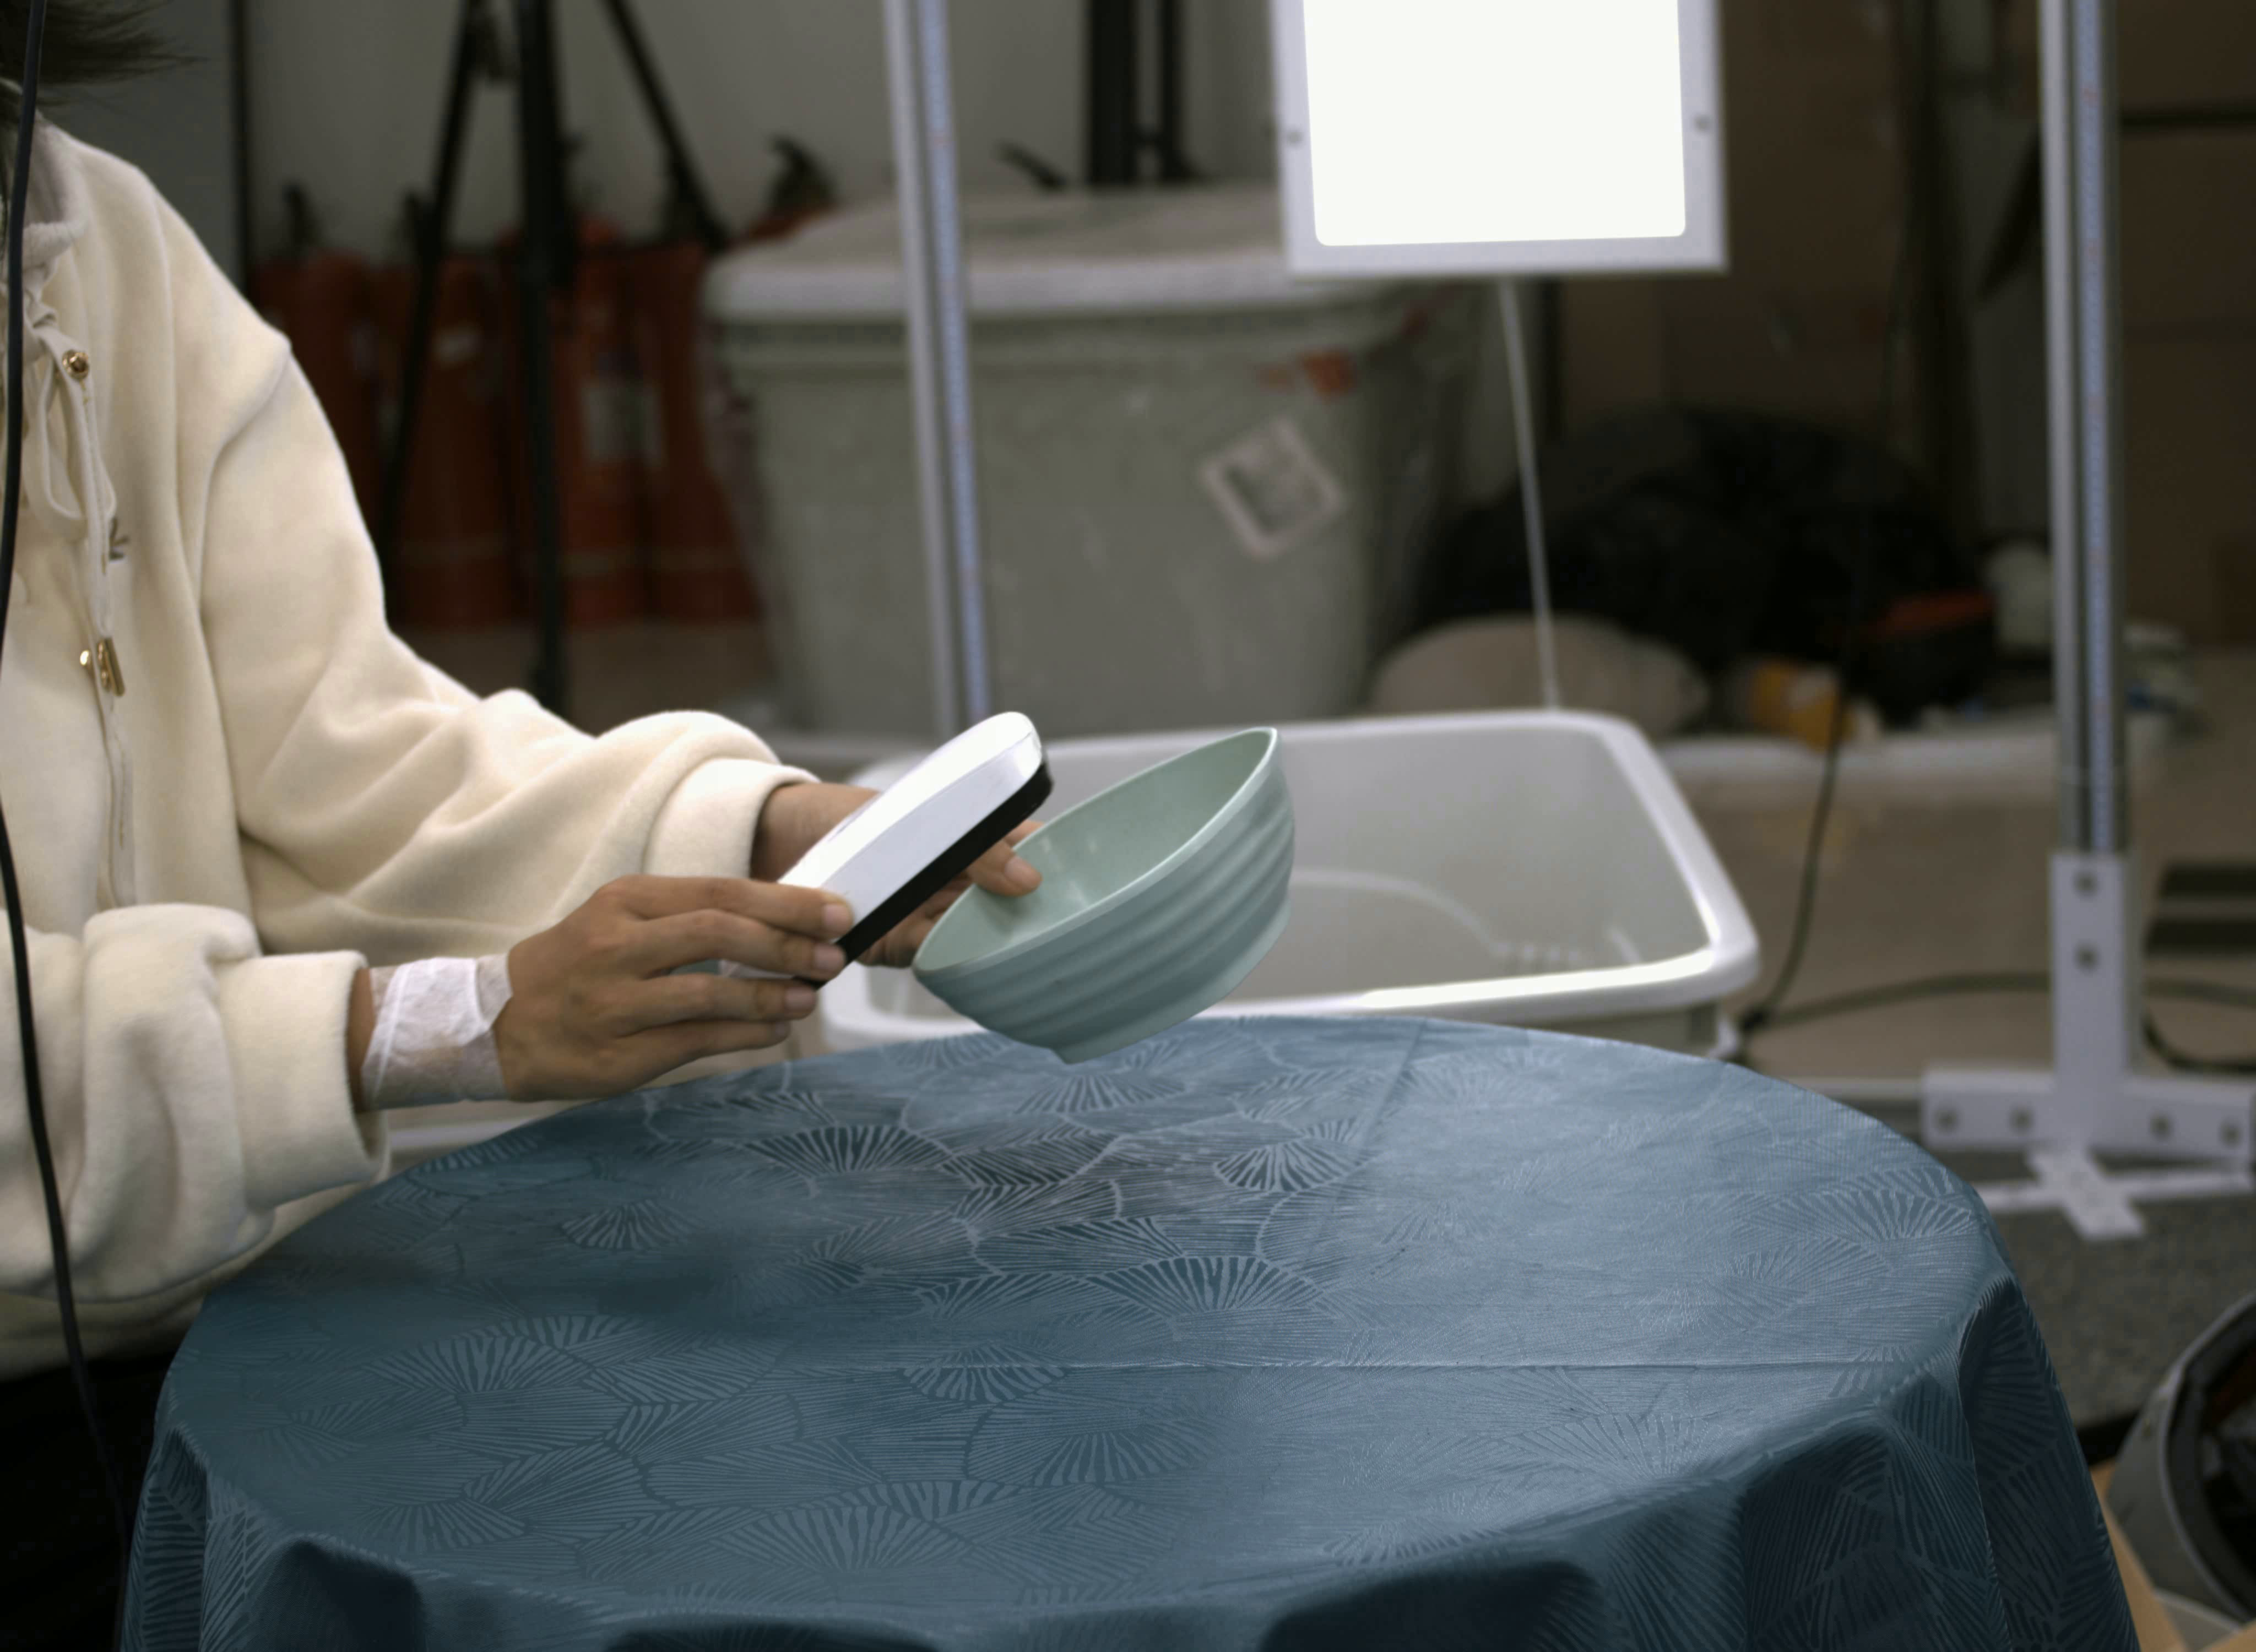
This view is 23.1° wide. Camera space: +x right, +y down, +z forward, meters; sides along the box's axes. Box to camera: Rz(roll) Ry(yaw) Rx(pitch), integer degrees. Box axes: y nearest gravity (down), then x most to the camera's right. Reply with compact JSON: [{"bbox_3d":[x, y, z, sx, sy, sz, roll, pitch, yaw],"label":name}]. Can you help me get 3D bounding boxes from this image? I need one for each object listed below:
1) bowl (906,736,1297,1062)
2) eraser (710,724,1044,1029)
[{"bbox_3d":[0.002,0.031,1.885,0.152,0.058,0.151,-29,11,4],"label":"bowl"},{"bbox_3d":[-0.086,0.014,1.854,0.132,0.034,0.063,-39,11,6],"label":"eraser"}]
